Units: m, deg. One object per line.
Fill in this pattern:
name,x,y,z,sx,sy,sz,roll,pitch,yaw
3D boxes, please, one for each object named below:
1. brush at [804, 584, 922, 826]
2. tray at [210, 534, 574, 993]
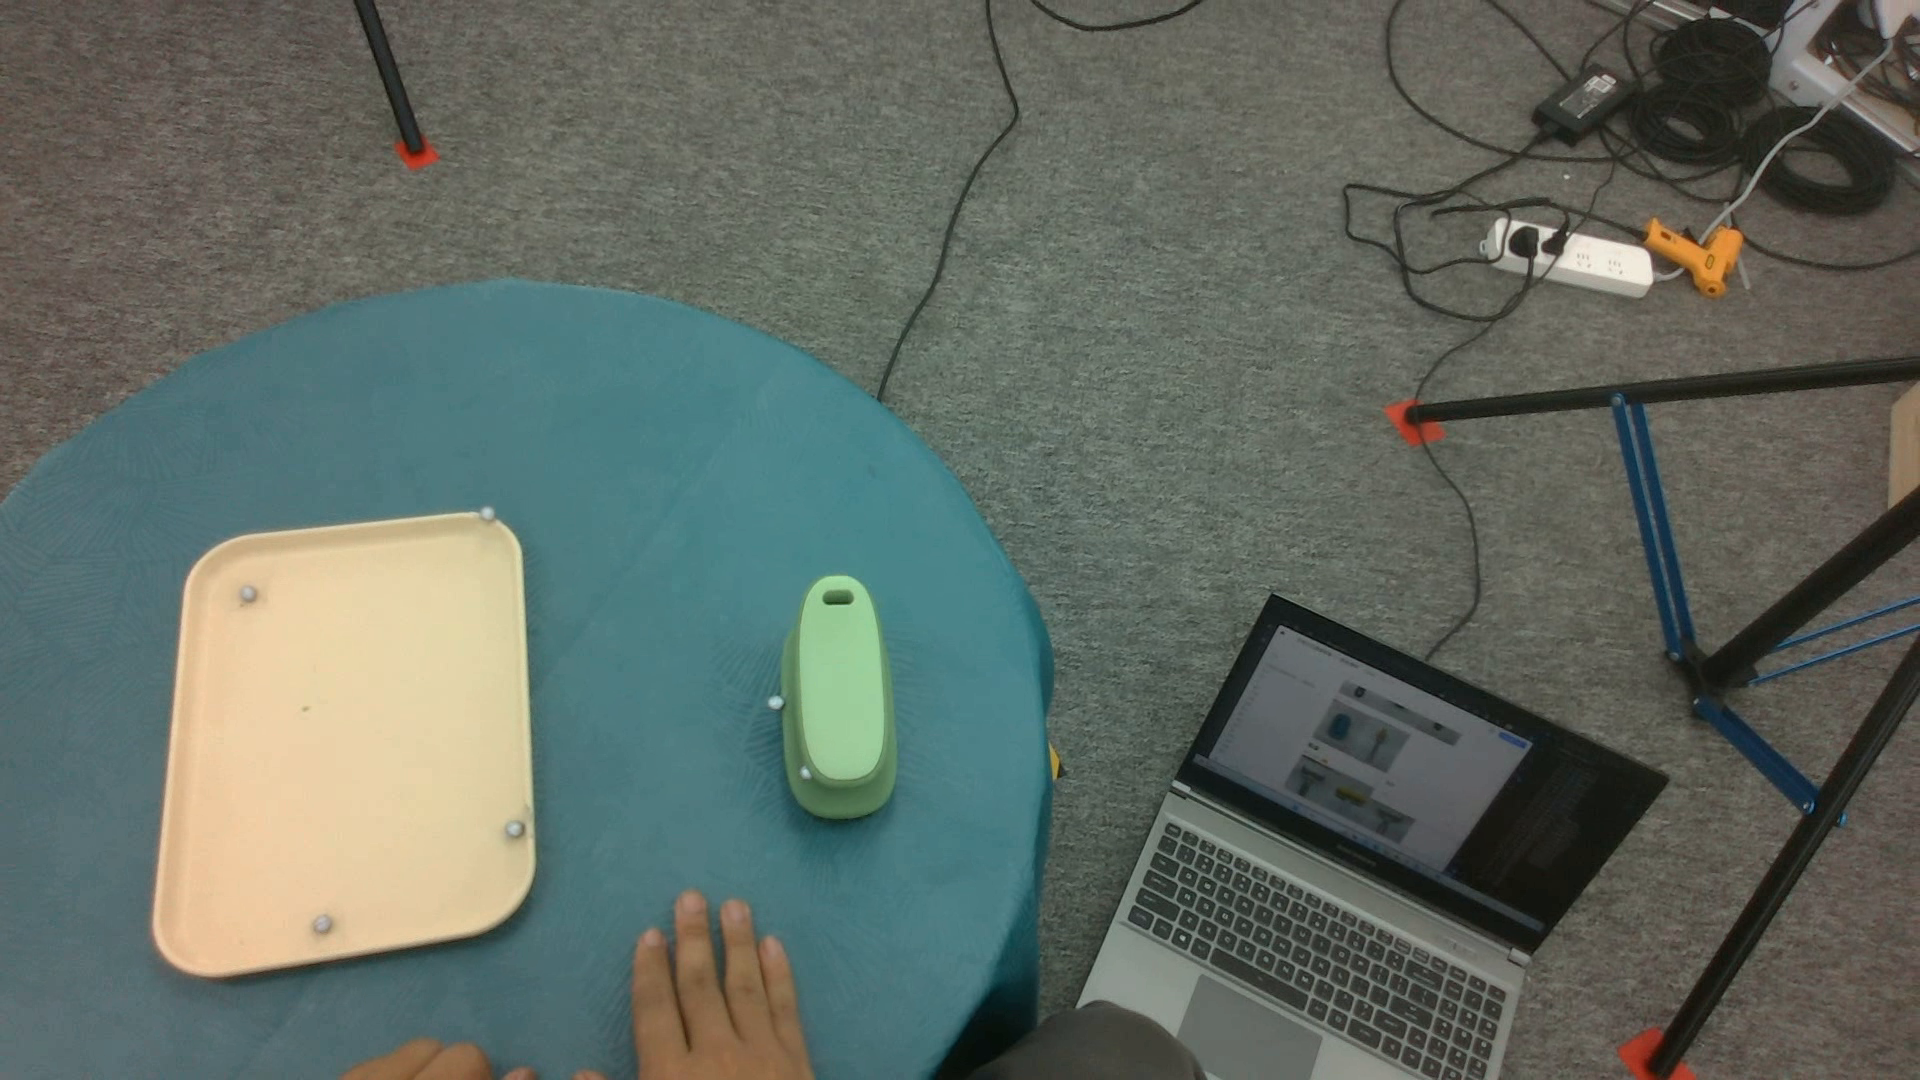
brush,-0.053,0.091,0.739,0.059,0.075,0.123,-5,72,-8
tray,-0.296,0.108,0.722,0.171,0.017,0.240,-9,58,-11
